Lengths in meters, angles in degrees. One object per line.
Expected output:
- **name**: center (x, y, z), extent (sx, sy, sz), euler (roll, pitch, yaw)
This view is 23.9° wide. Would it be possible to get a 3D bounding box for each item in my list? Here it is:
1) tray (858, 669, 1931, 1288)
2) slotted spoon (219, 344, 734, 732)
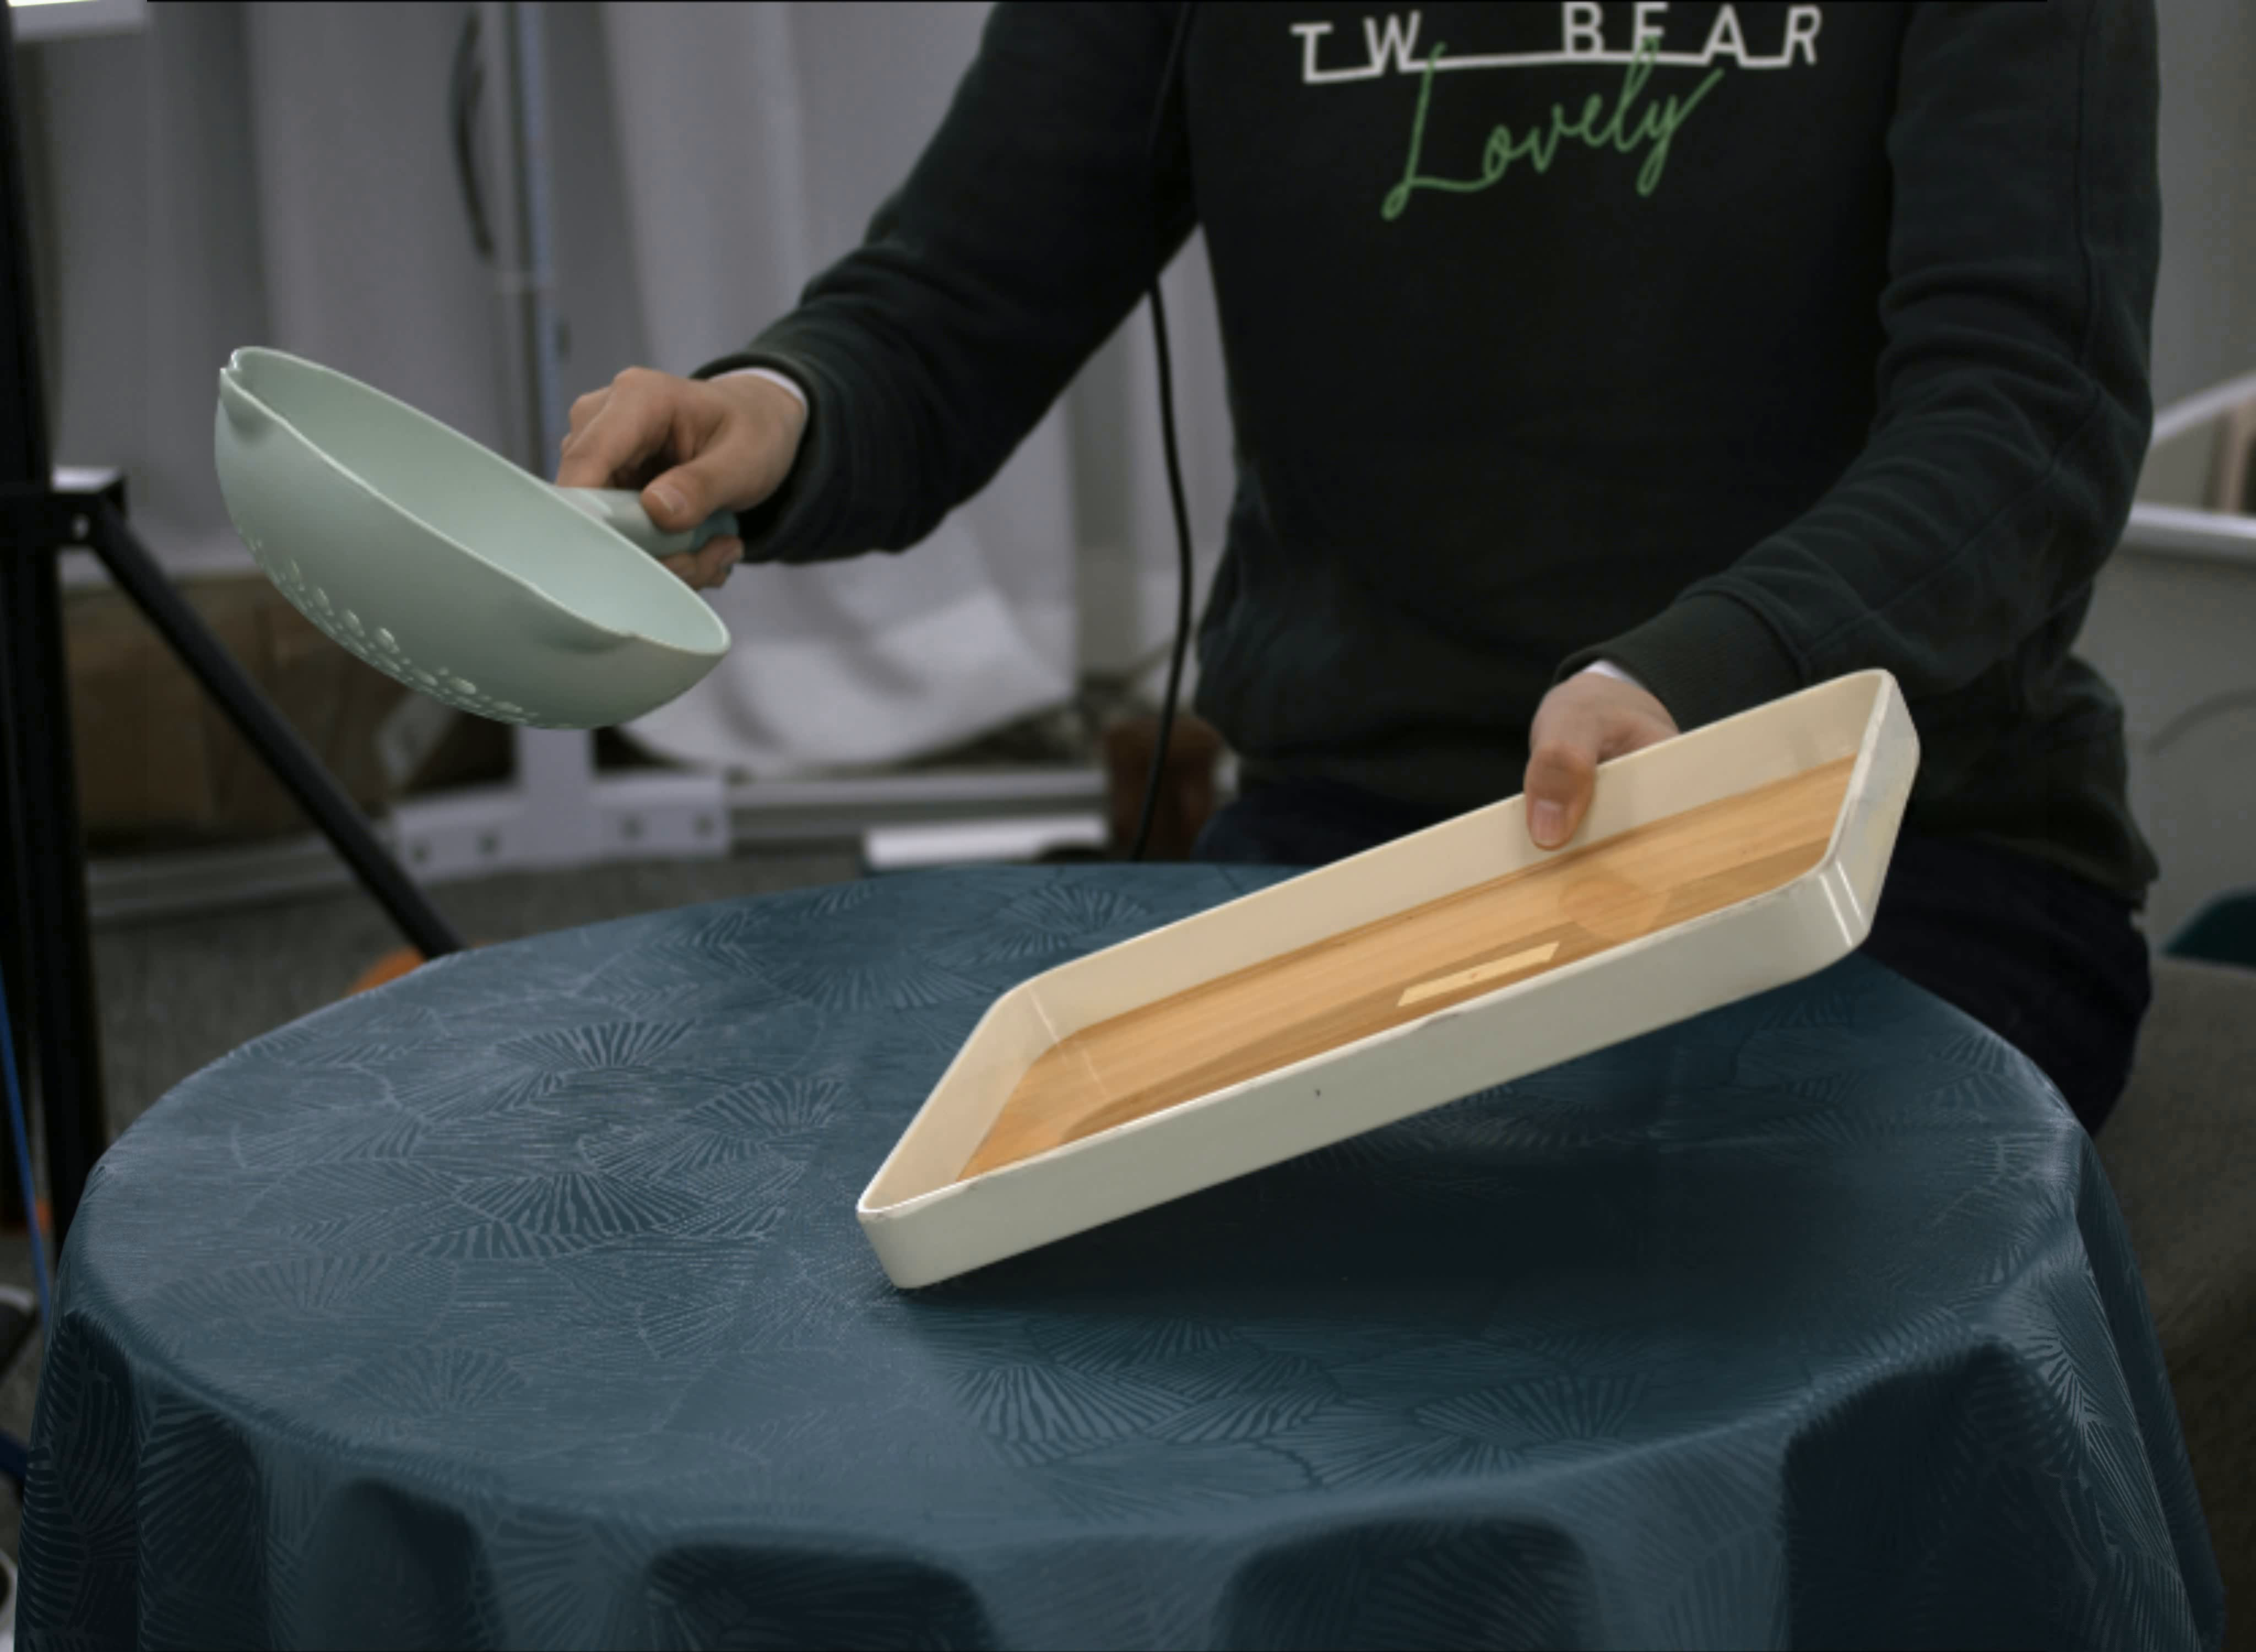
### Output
- **tray**: center (0.079, 0.043, 1.508), extent (0.303, 0.027, 0.190), euler (-20, 14, 21)
- **slotted spoon**: center (-0.176, -0.090, 1.666), extent (0.170, 0.076, 0.355), euler (35, 16, 8)
